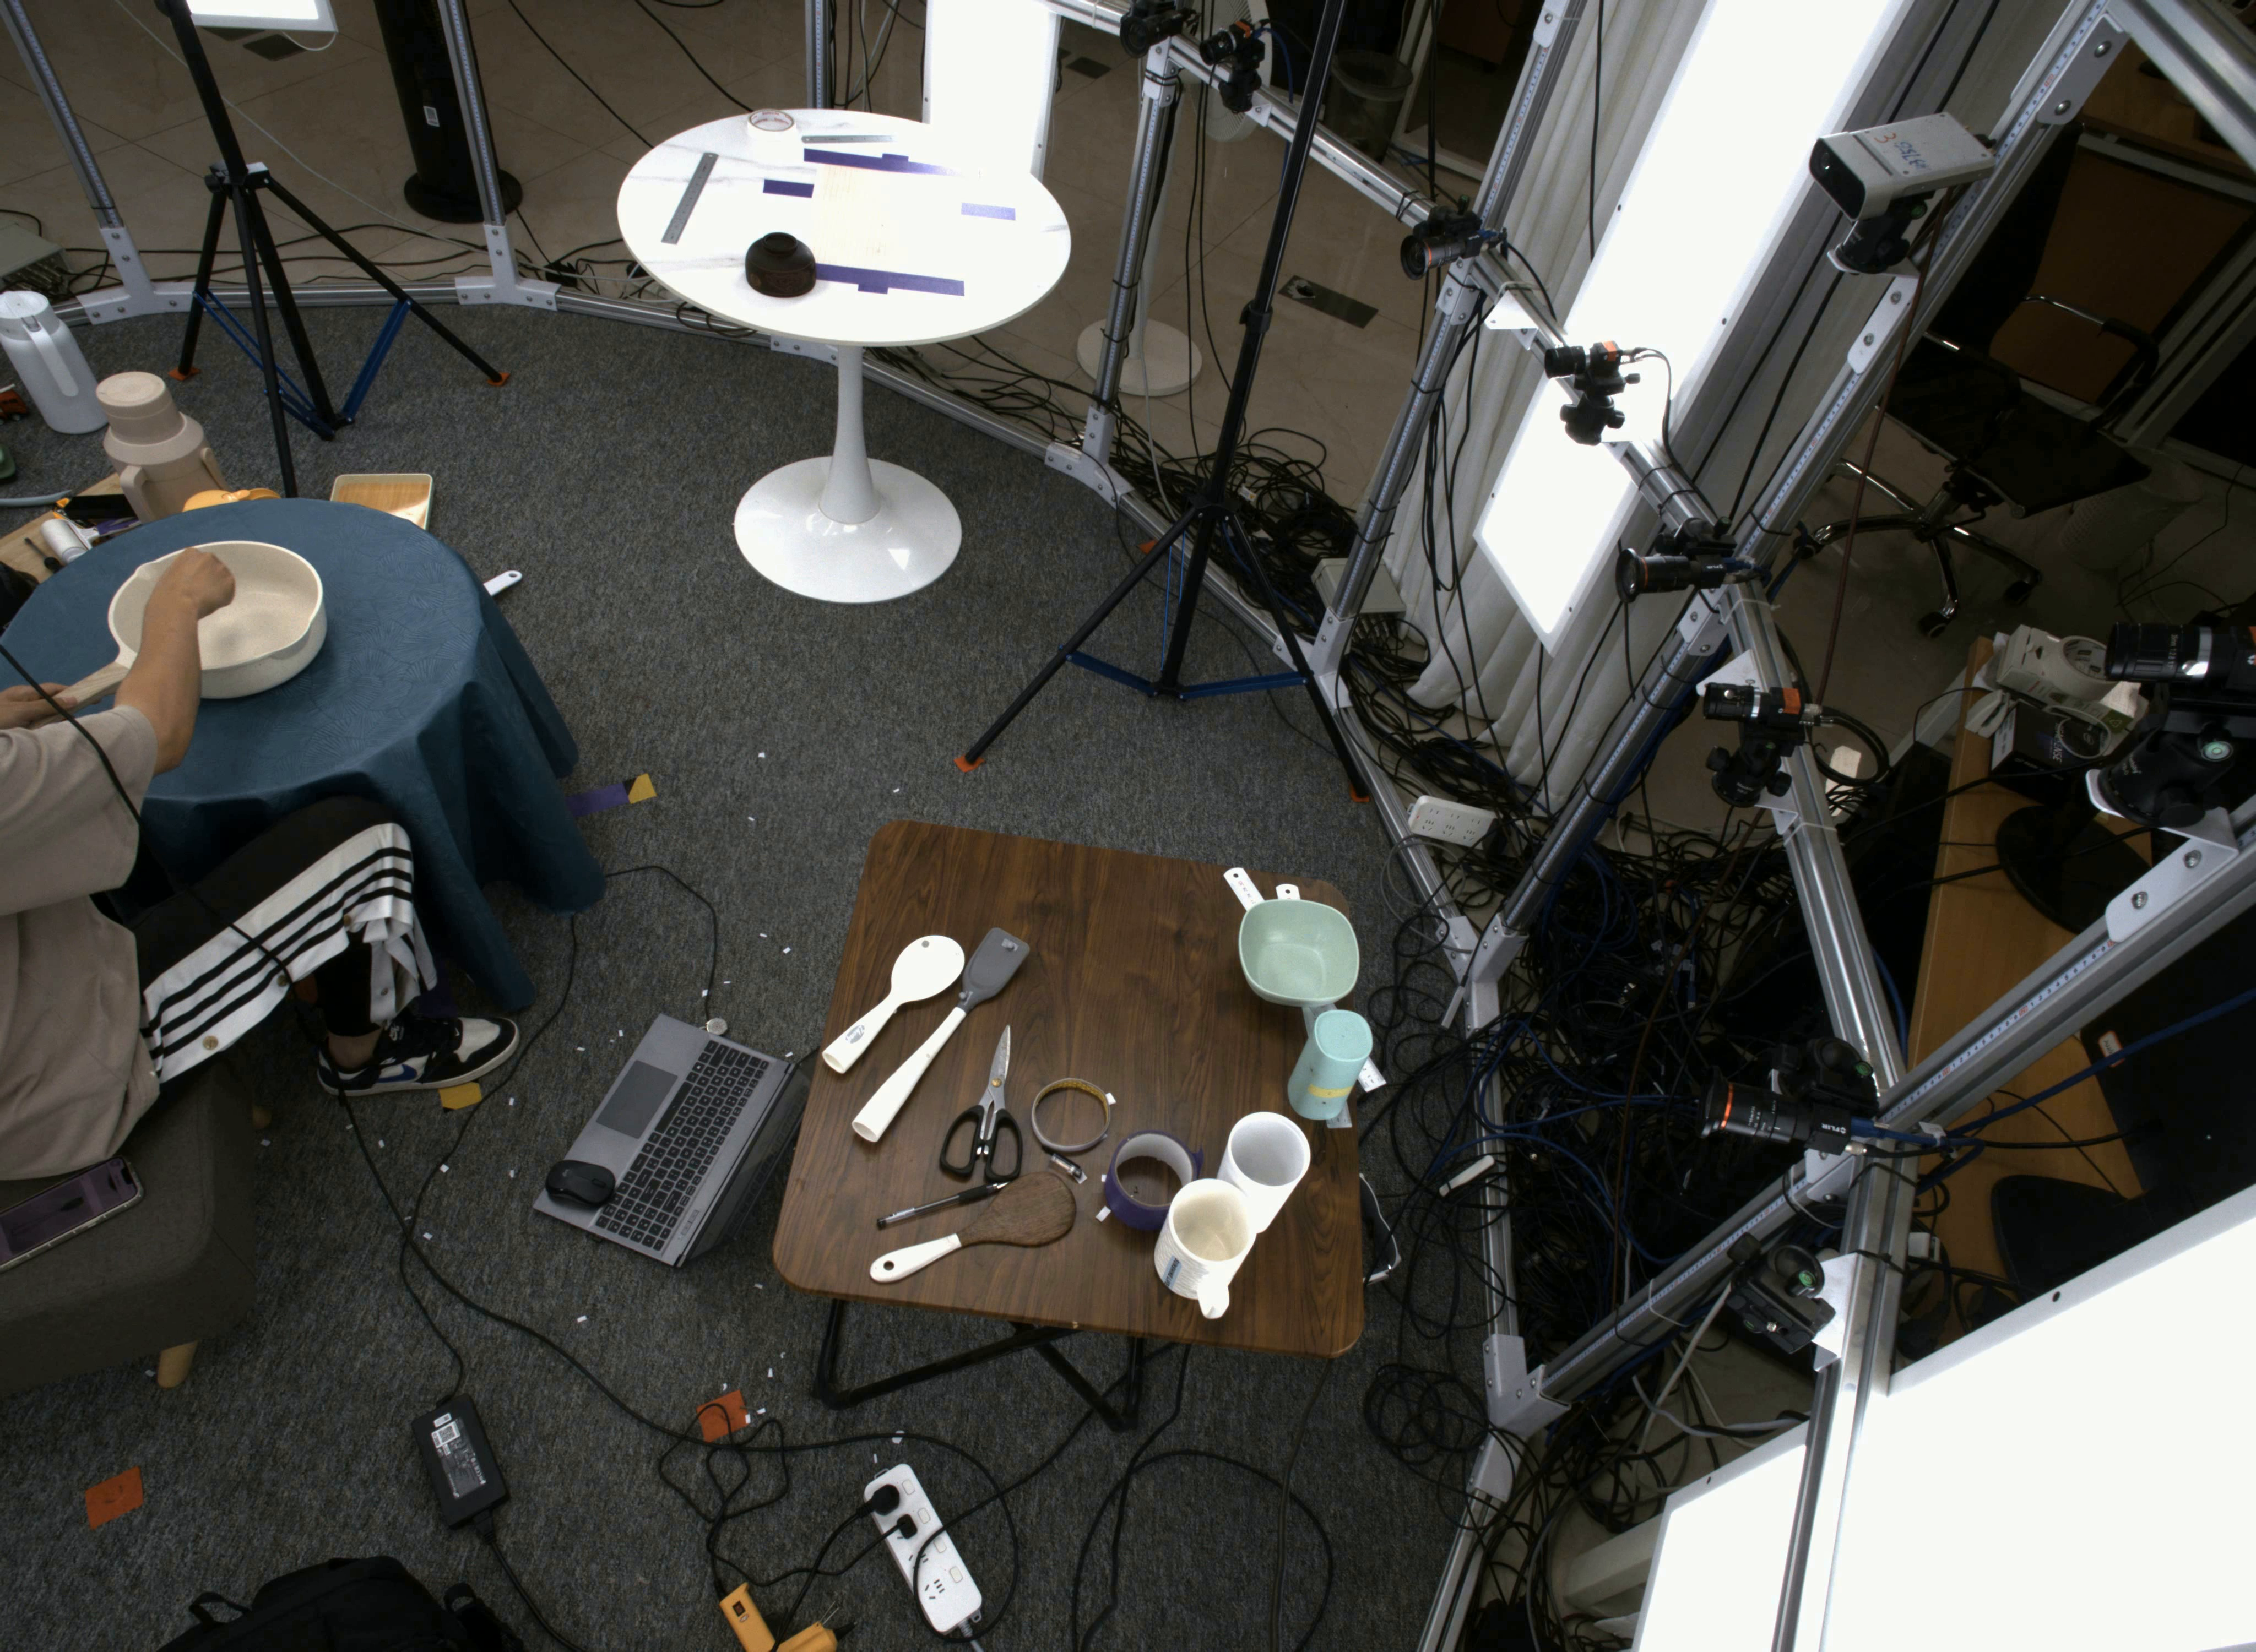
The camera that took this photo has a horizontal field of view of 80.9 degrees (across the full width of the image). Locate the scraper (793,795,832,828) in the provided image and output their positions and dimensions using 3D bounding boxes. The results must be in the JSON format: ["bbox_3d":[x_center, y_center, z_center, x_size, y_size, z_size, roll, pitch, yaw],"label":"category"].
[{"bbox_3d":[-0.389,-0.020,1.604,0.039,0.015,0.166,7,9,-20],"label":"scraper"}]

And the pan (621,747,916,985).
[{"bbox_3d":[-0.454,0.070,1.616,0.259,0.104,0.435,38,55,12],"label":"pan"}]
